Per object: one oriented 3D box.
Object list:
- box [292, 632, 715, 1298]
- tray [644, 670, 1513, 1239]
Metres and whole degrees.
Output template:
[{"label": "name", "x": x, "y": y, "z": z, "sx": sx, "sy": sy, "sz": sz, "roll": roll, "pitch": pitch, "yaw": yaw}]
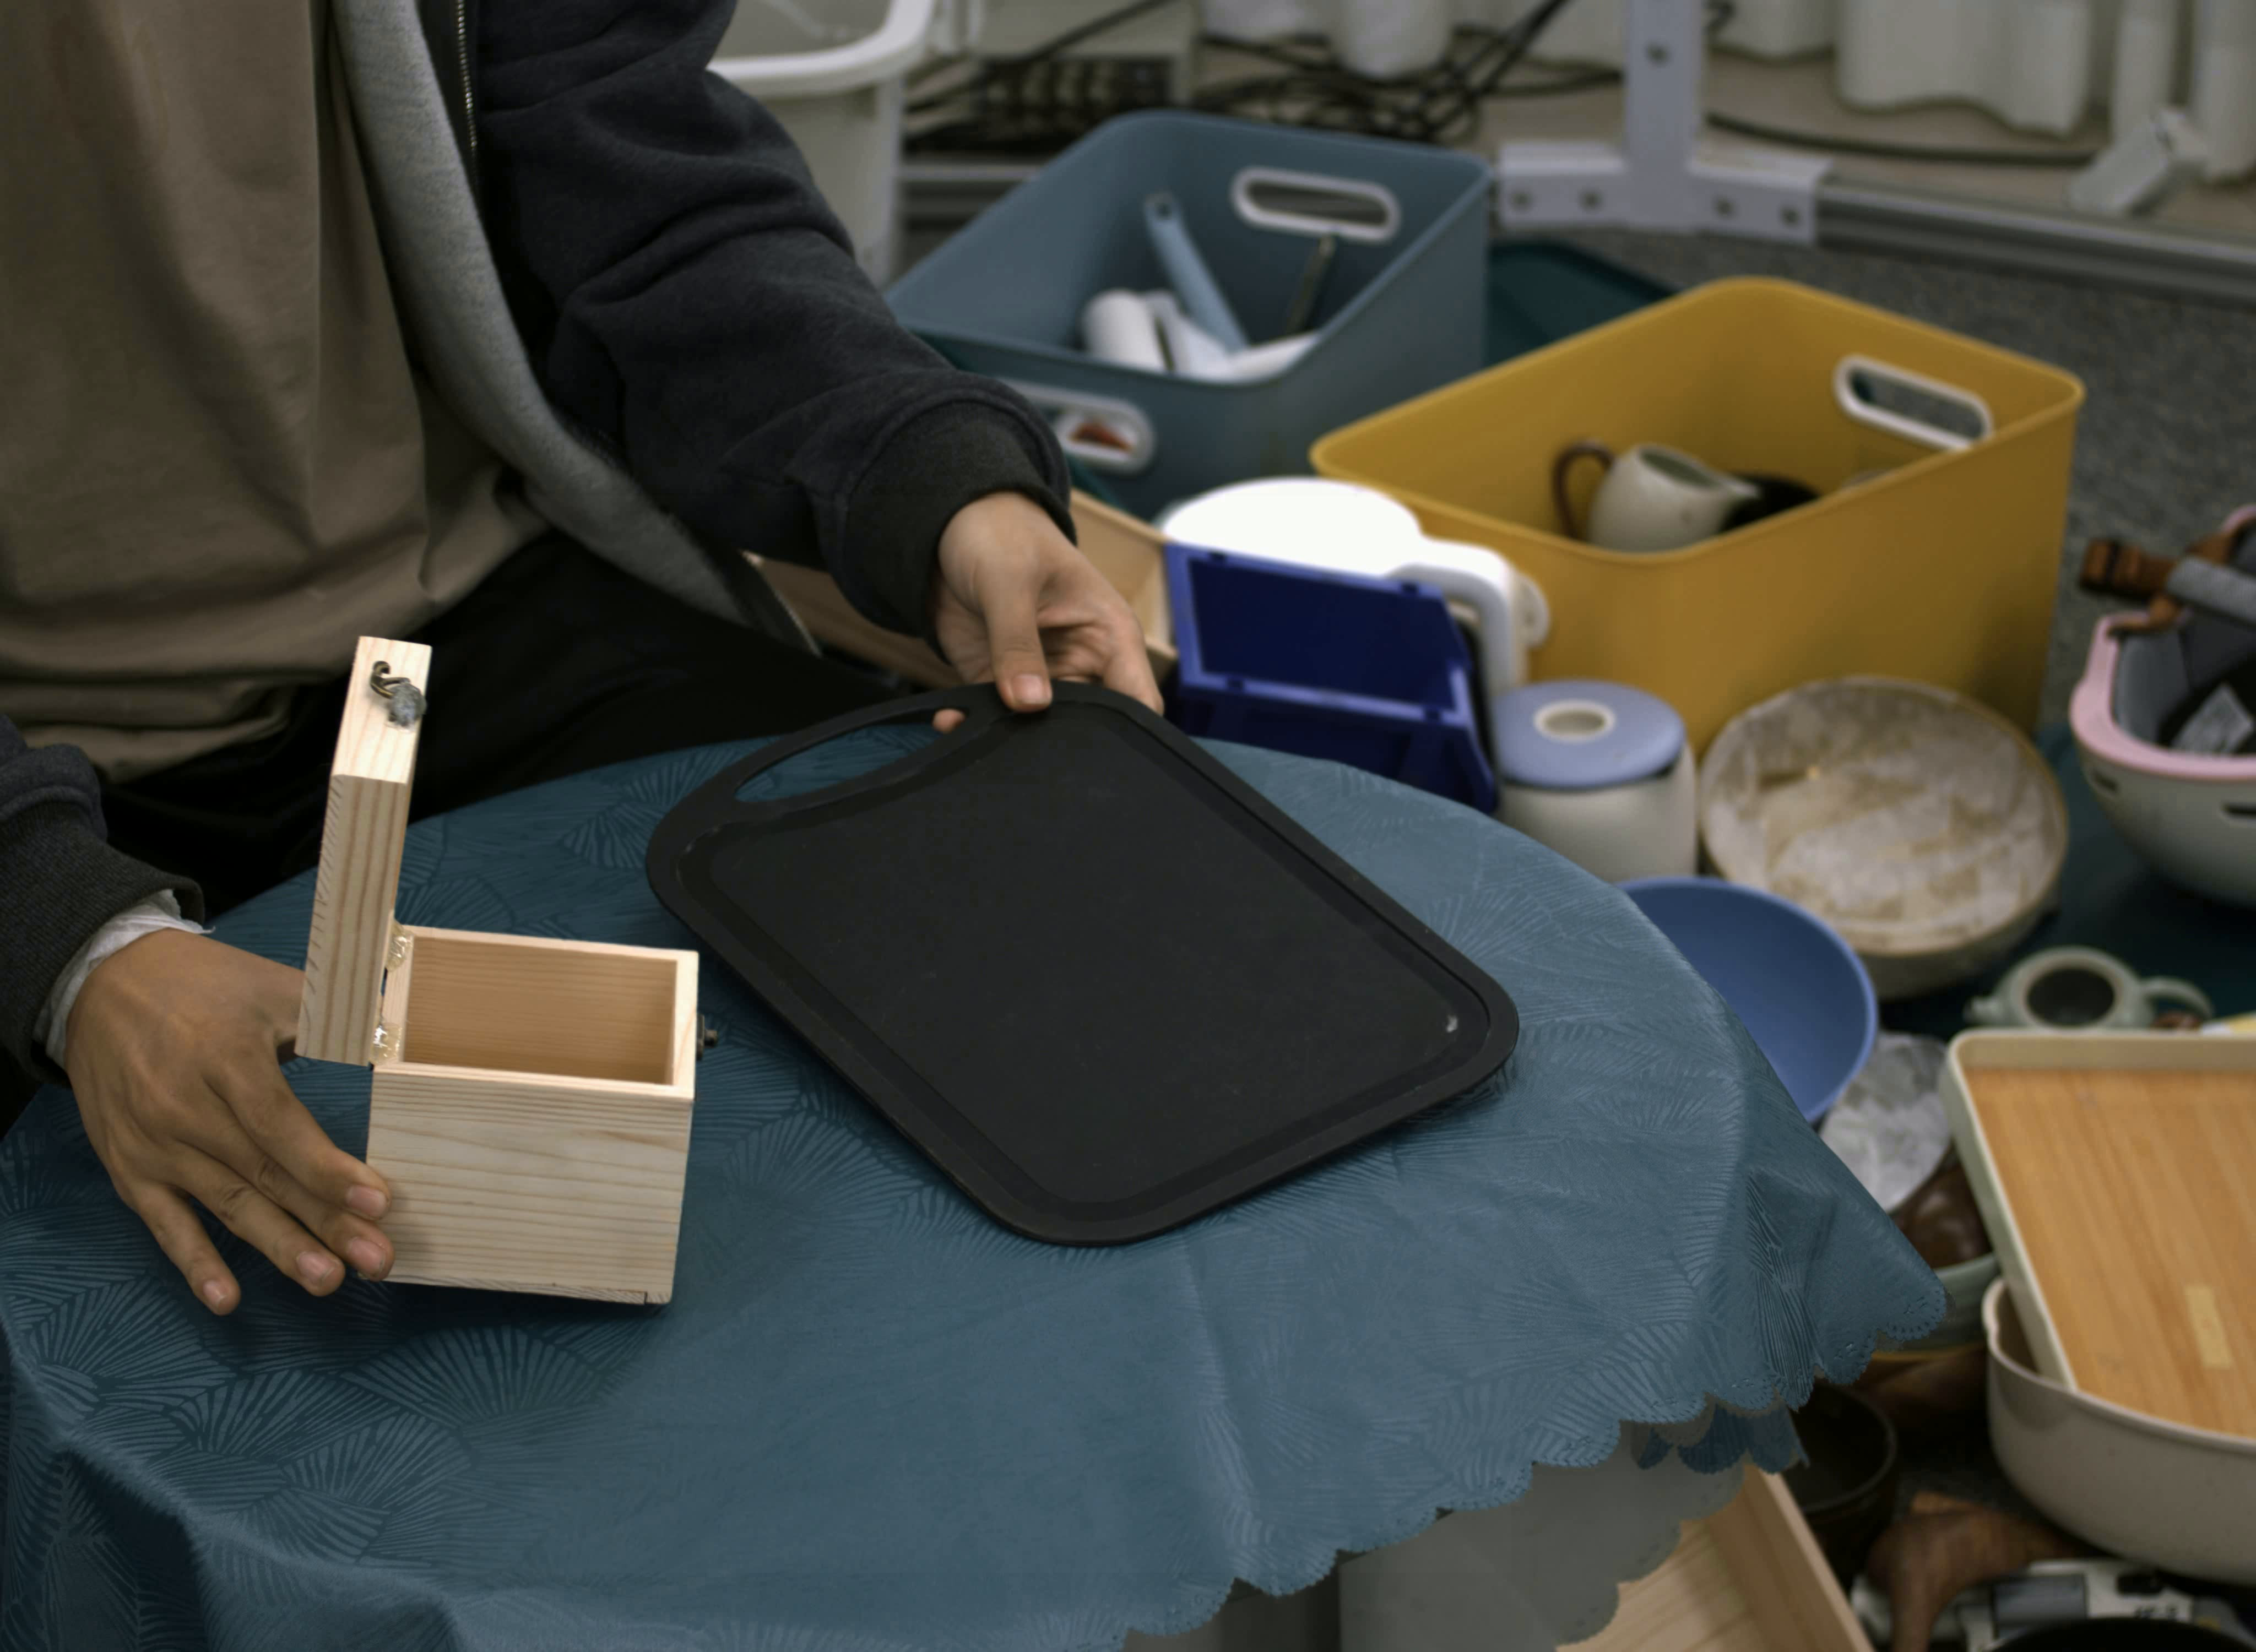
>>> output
[{"label": "box", "x": -0.198, "y": 0.044, "z": 1.802, "sx": 0.133, "sy": 0.182, "sz": 0.104, "roll": 4, "pitch": 24, "yaw": -6}, {"label": "tray", "x": -0.027, "y": 0.034, "z": 1.977, "sx": 0.213, "sy": 0.009, "sz": 0.327, "roll": -22, "pitch": 39, "yaw": -26}]
